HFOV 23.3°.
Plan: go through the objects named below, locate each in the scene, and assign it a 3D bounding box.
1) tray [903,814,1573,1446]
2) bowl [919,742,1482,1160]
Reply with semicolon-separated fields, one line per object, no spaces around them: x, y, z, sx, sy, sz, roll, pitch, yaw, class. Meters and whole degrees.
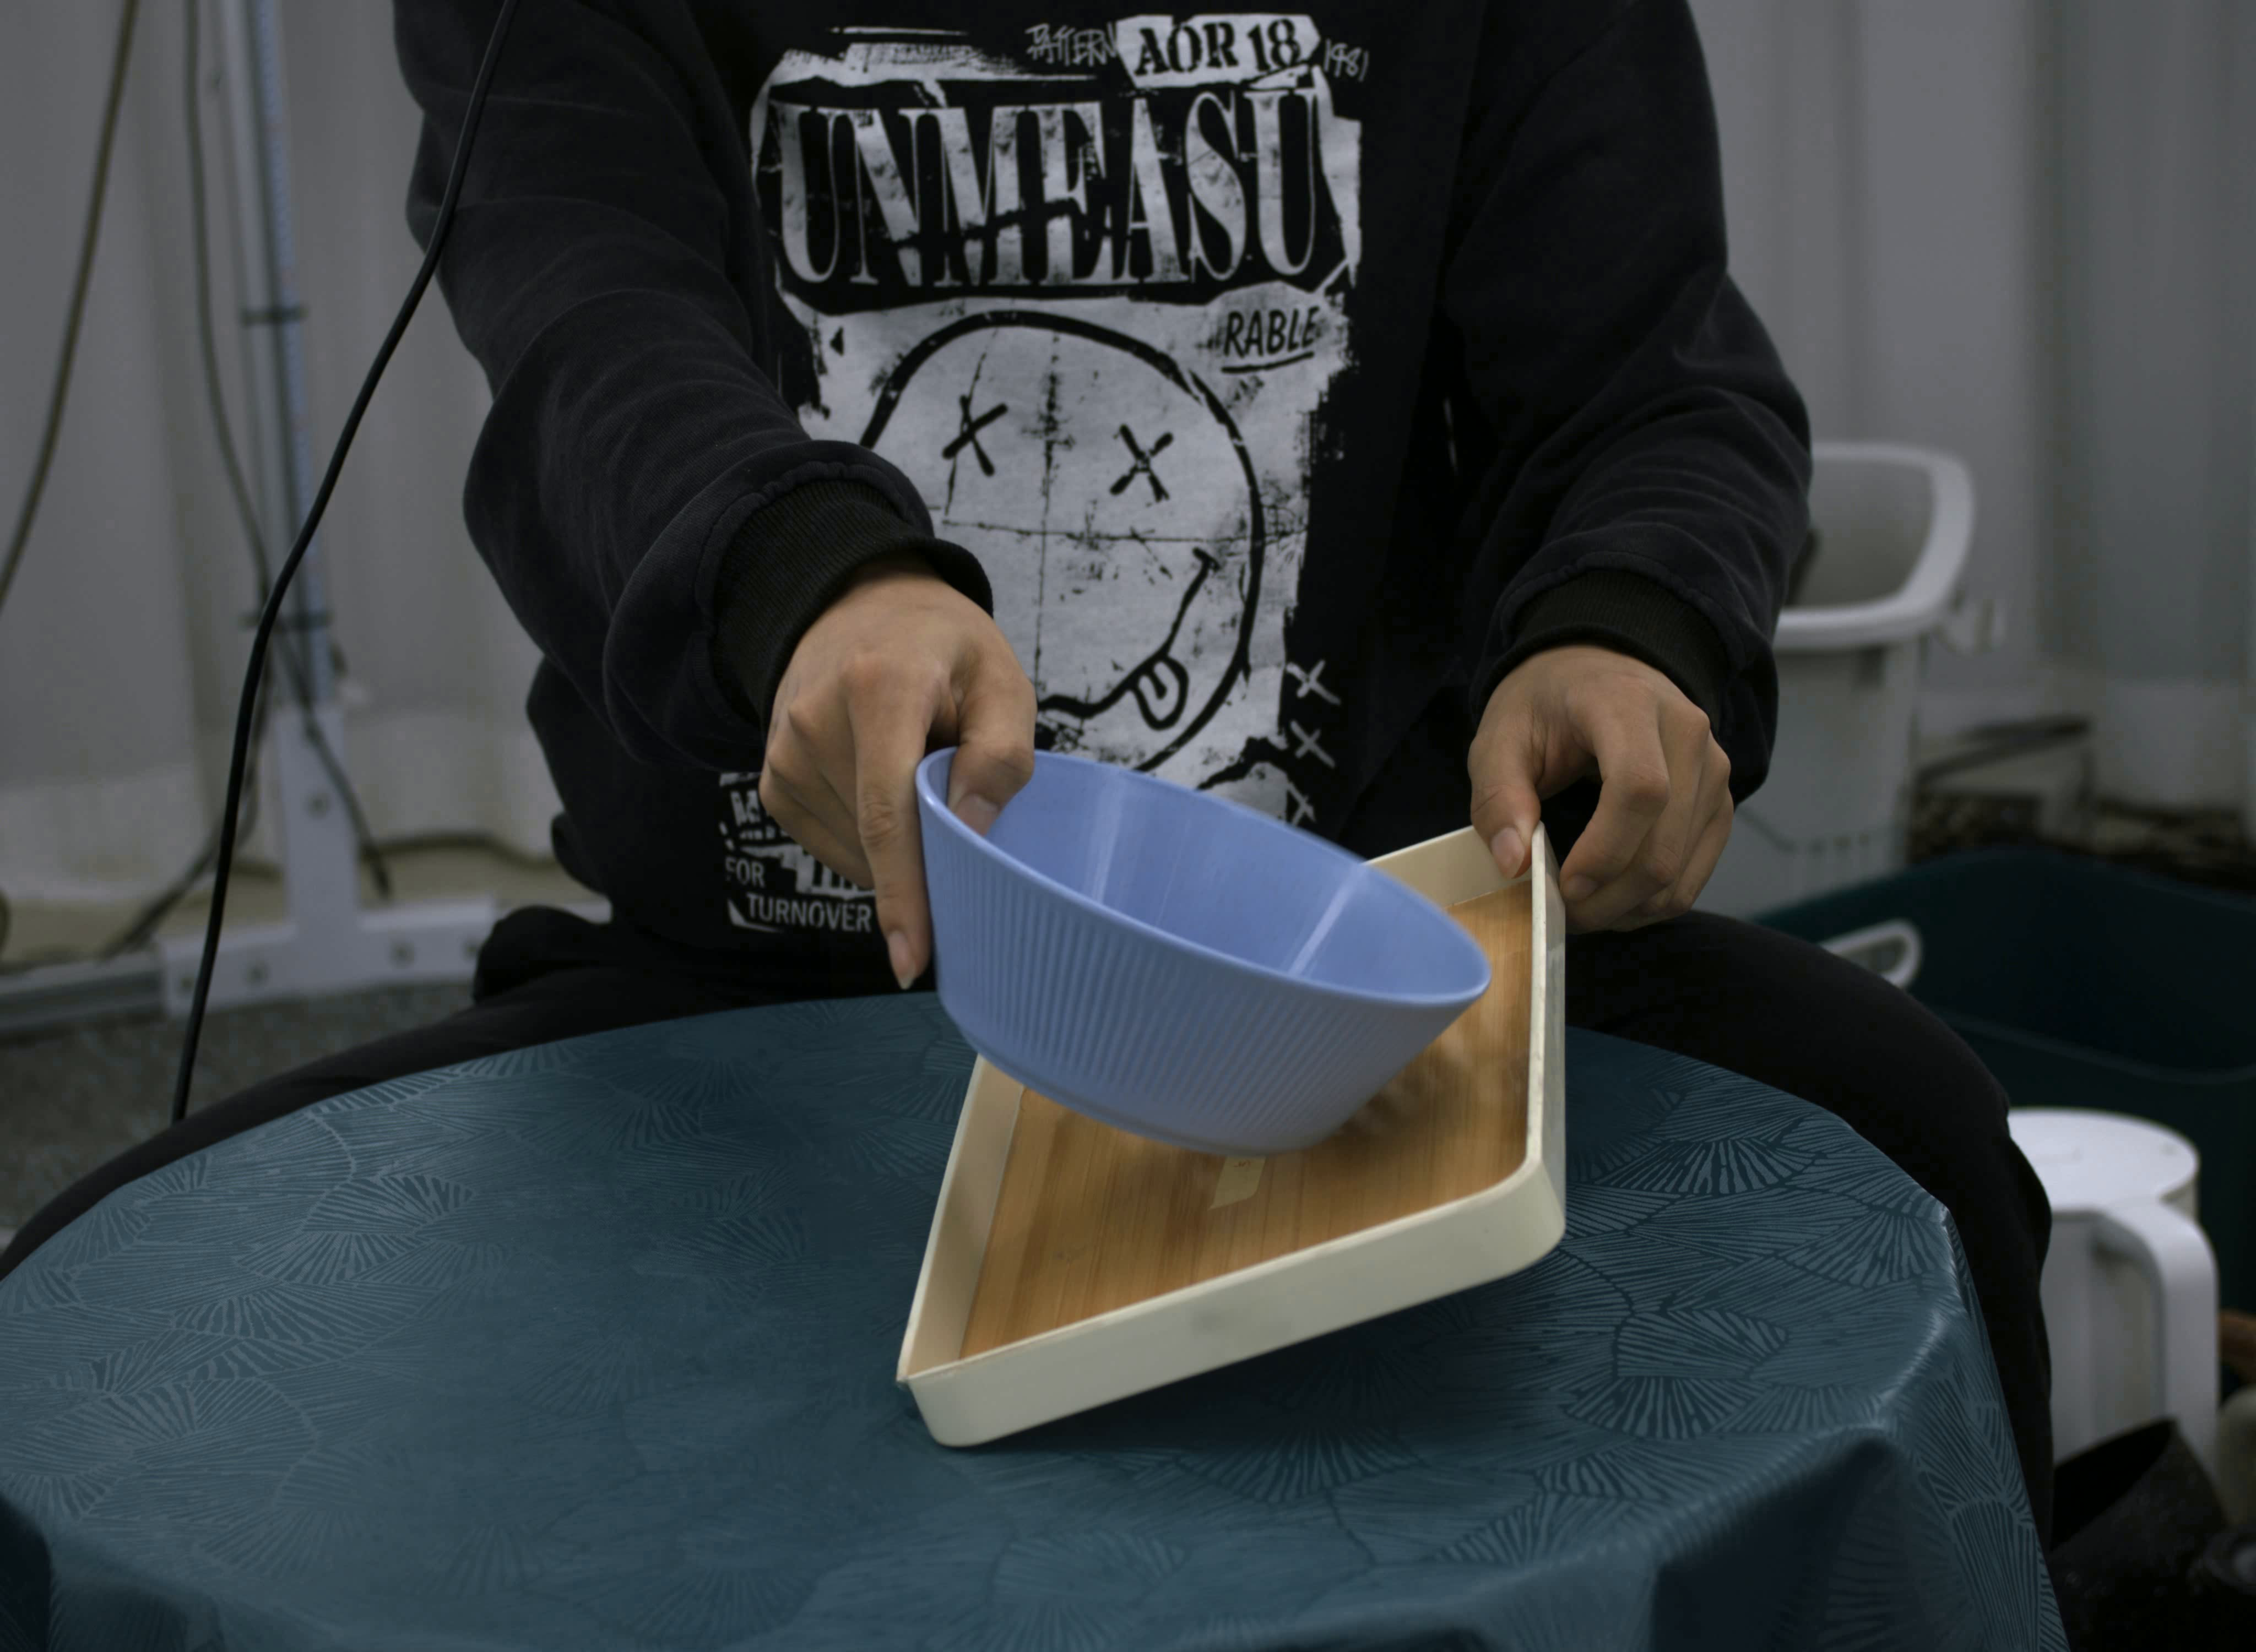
0.039;0.085;1.623;0.191;0.027;0.303;-19;18;11;tray
0.009;0.042;1.582;0.175;0.070;0.177;22;12;-5;bowl
